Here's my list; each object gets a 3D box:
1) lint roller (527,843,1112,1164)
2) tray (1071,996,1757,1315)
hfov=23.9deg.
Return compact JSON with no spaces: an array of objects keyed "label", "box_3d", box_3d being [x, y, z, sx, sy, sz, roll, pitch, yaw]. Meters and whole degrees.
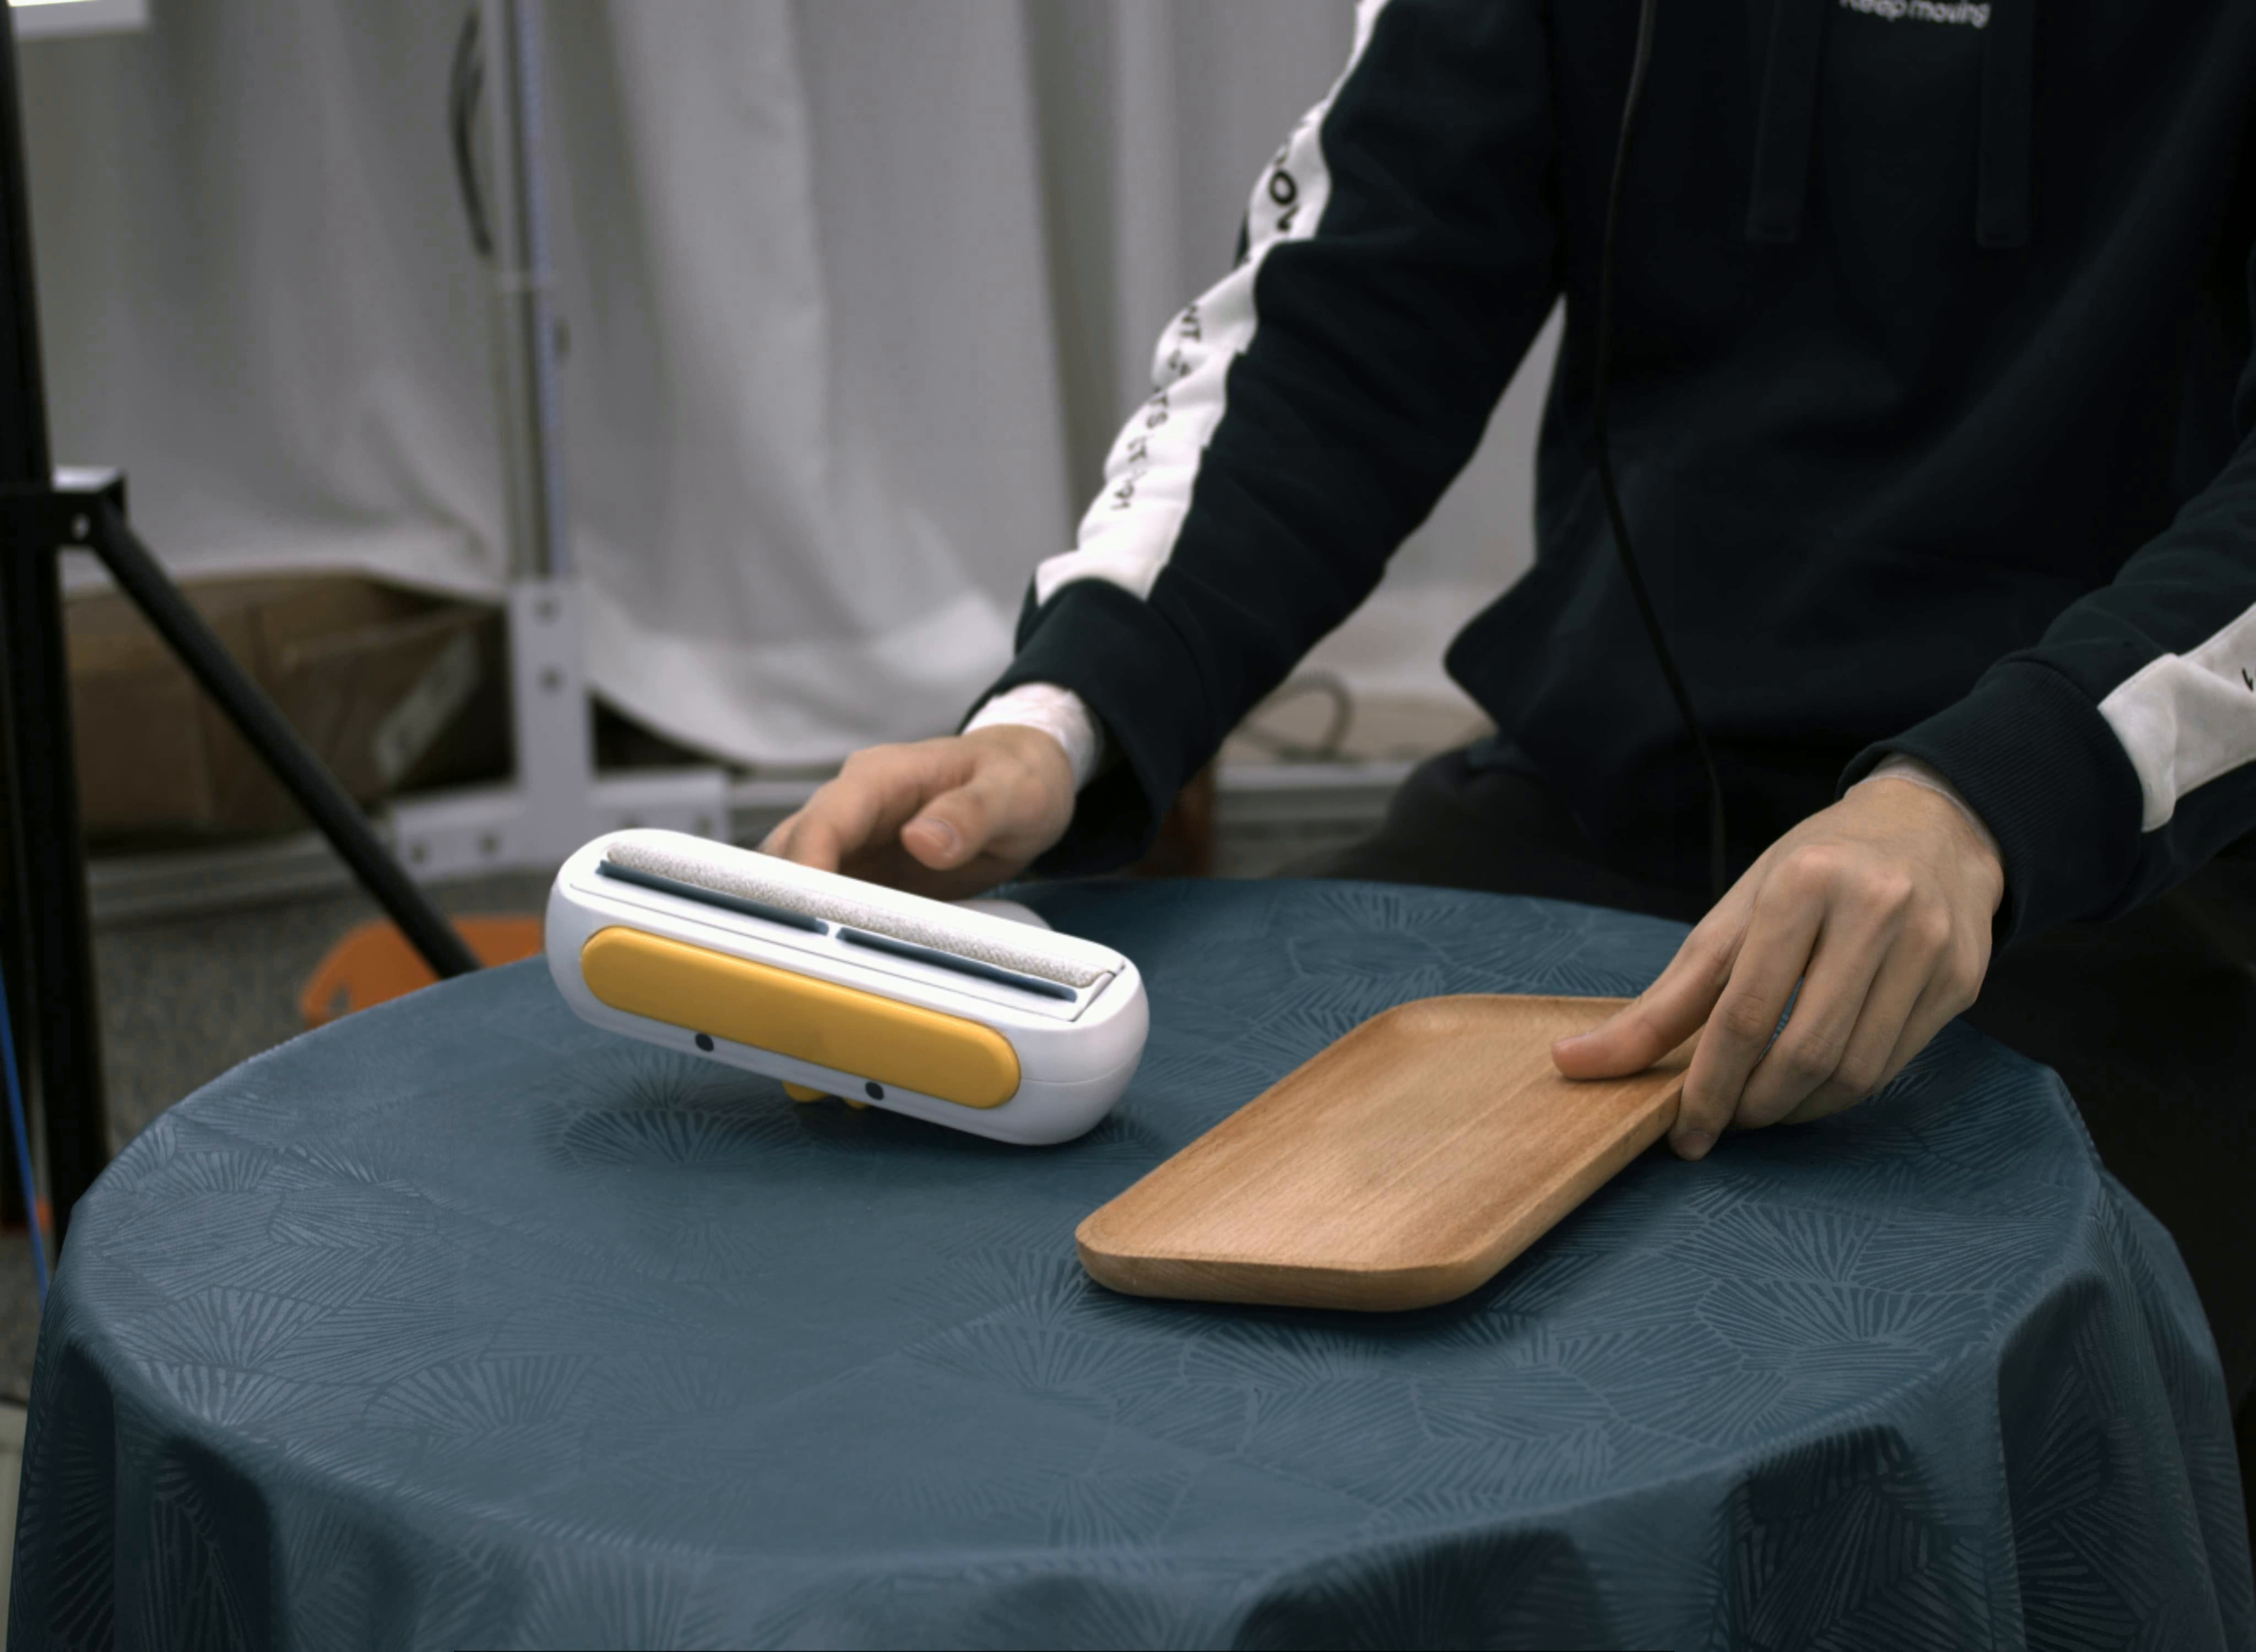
[{"label":"lint roller","box_3d":[-0.073,0.059,1.687,0.196,0.074,0.188,14,6,25]},{"label":"tray","box_3d":[0.088,0.094,1.549,0.133,0.023,0.246,3,16,29]}]
